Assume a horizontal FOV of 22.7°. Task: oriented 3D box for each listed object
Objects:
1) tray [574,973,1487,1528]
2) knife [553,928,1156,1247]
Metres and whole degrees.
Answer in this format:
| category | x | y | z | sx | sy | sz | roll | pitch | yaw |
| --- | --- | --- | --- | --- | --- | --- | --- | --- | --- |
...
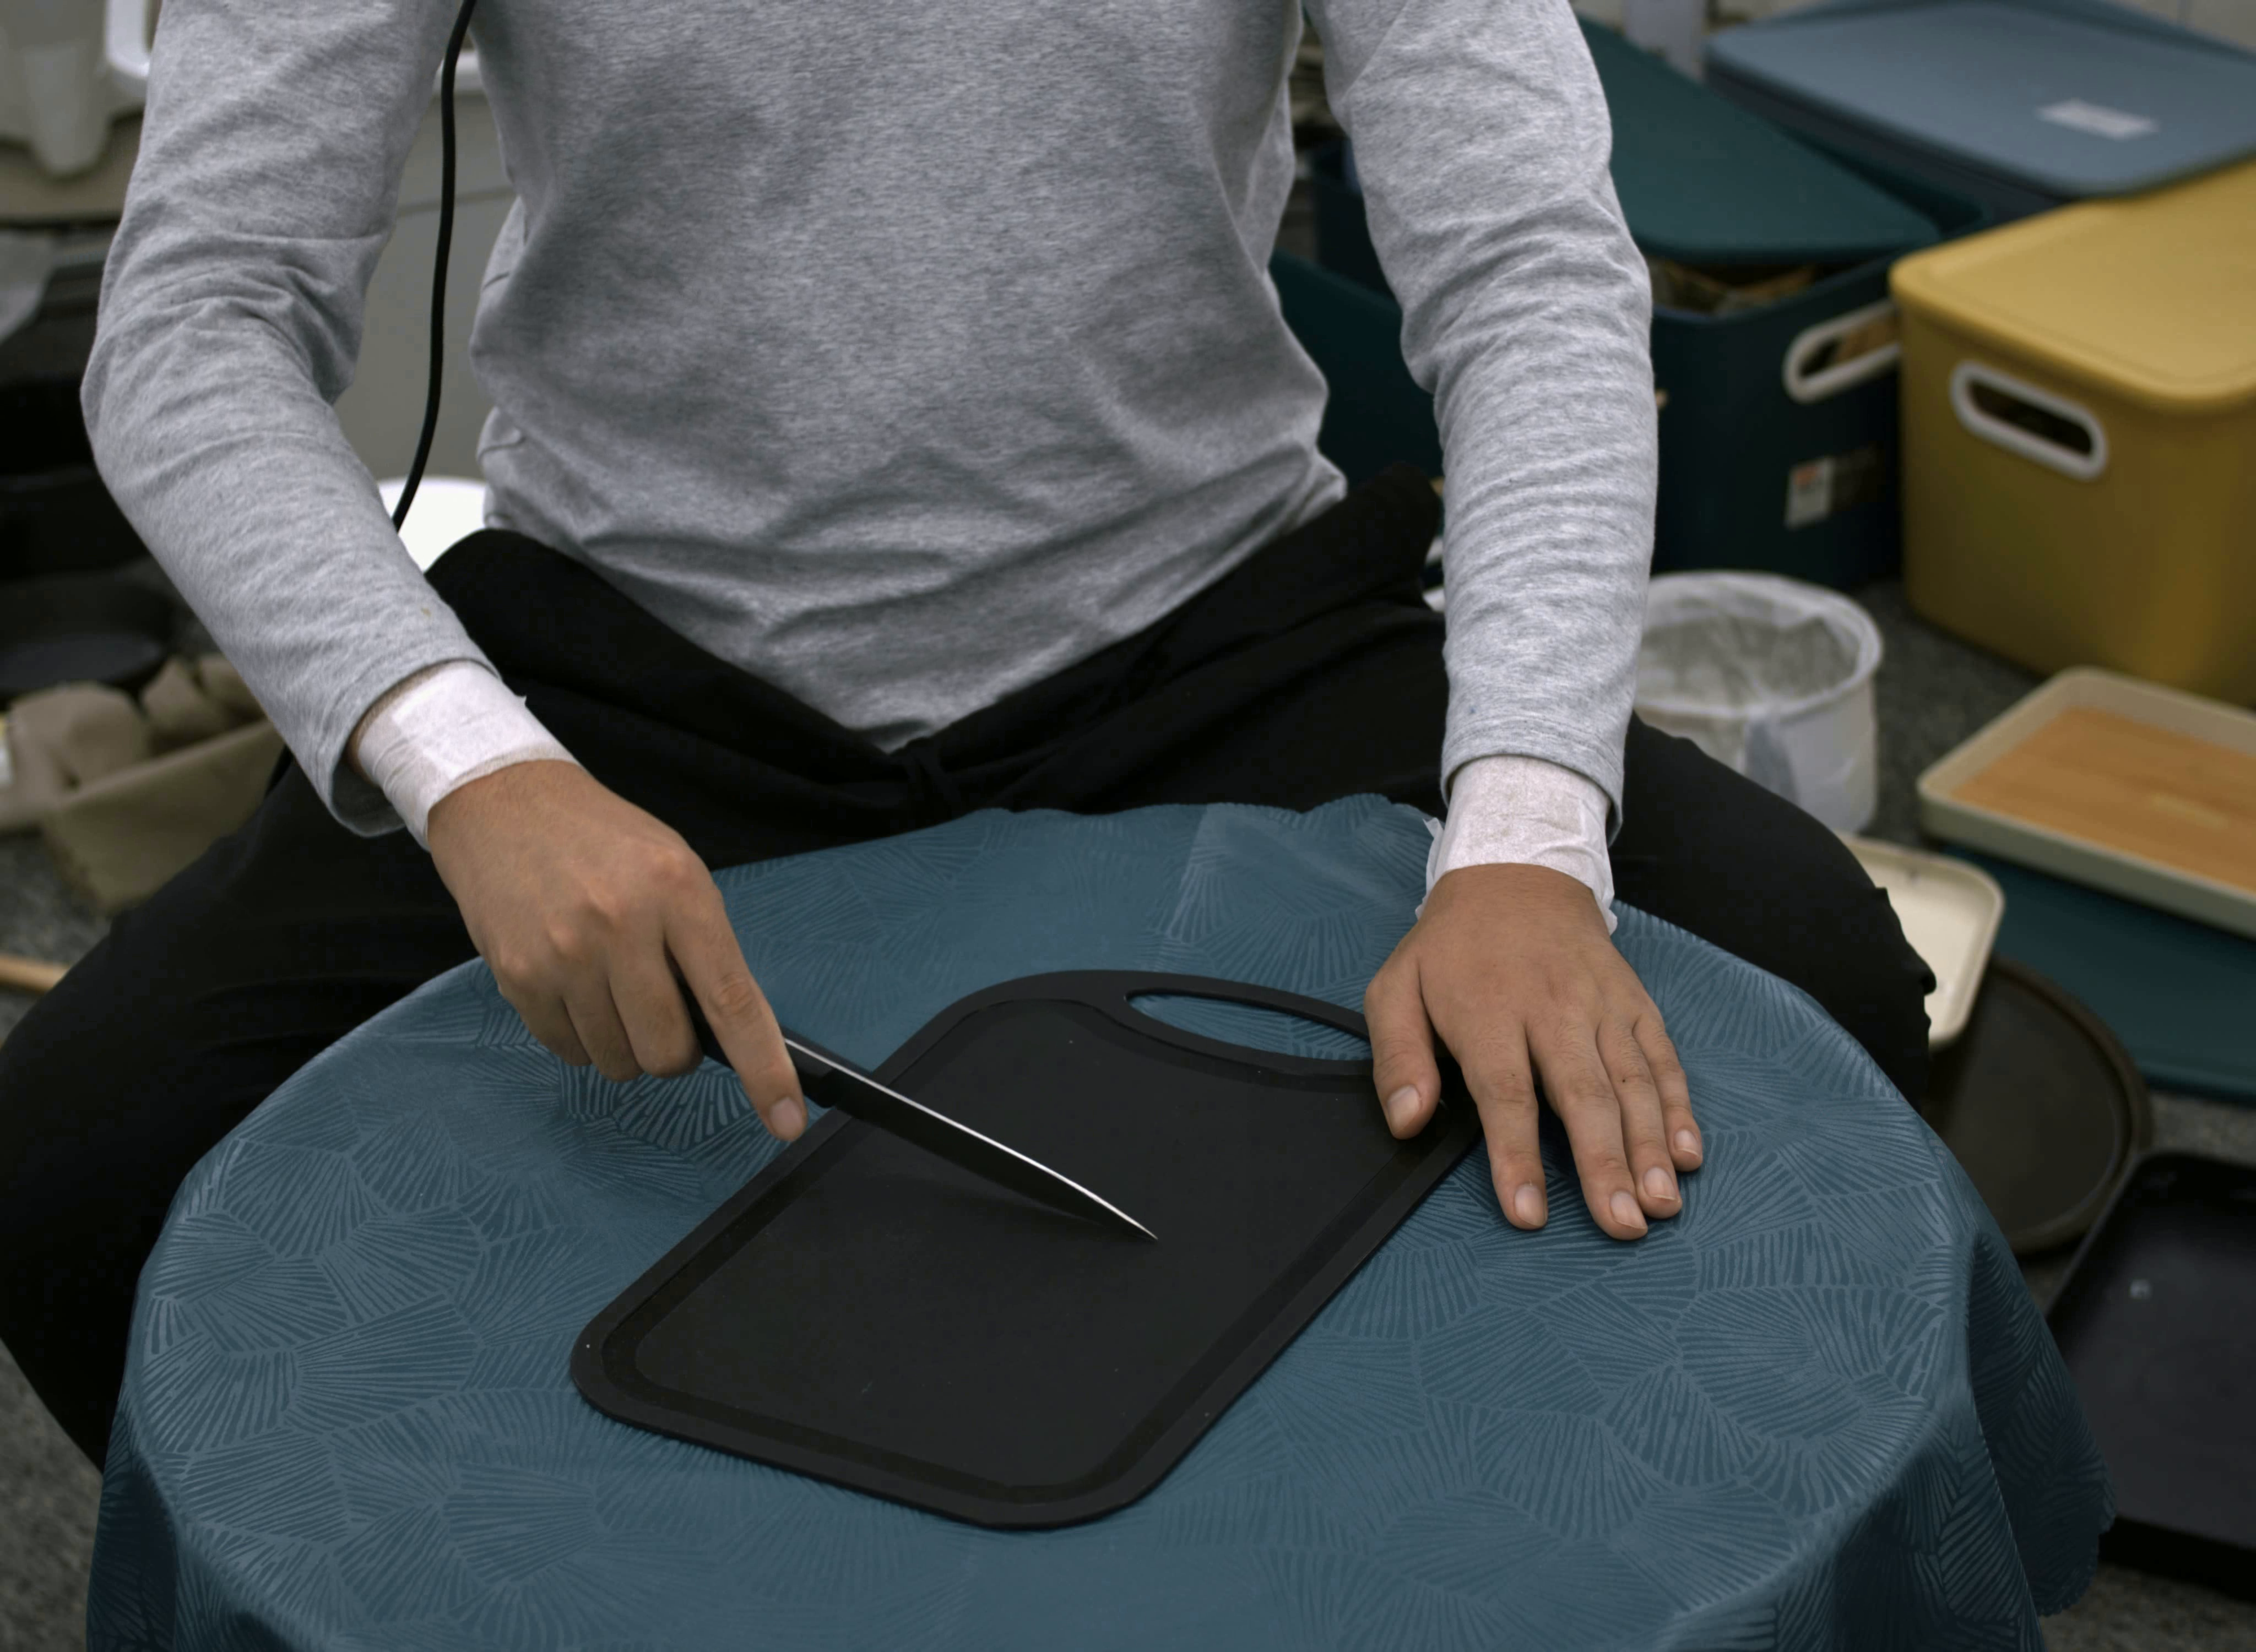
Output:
| category | x | y | z | sx | sy | sz | roll | pitch | yaw |
| --- | --- | --- | --- | --- | --- | --- | --- | --- | --- |
| tray | -0.024 | 0.128 | 1.846 | 0.210 | 0.009 | 0.330 | 13 | 31 | 27 |
| knife | -0.091 | 0.088 | 1.866 | 0.238 | 0.024 | 0.016 | 26 | 46 | 19 |
